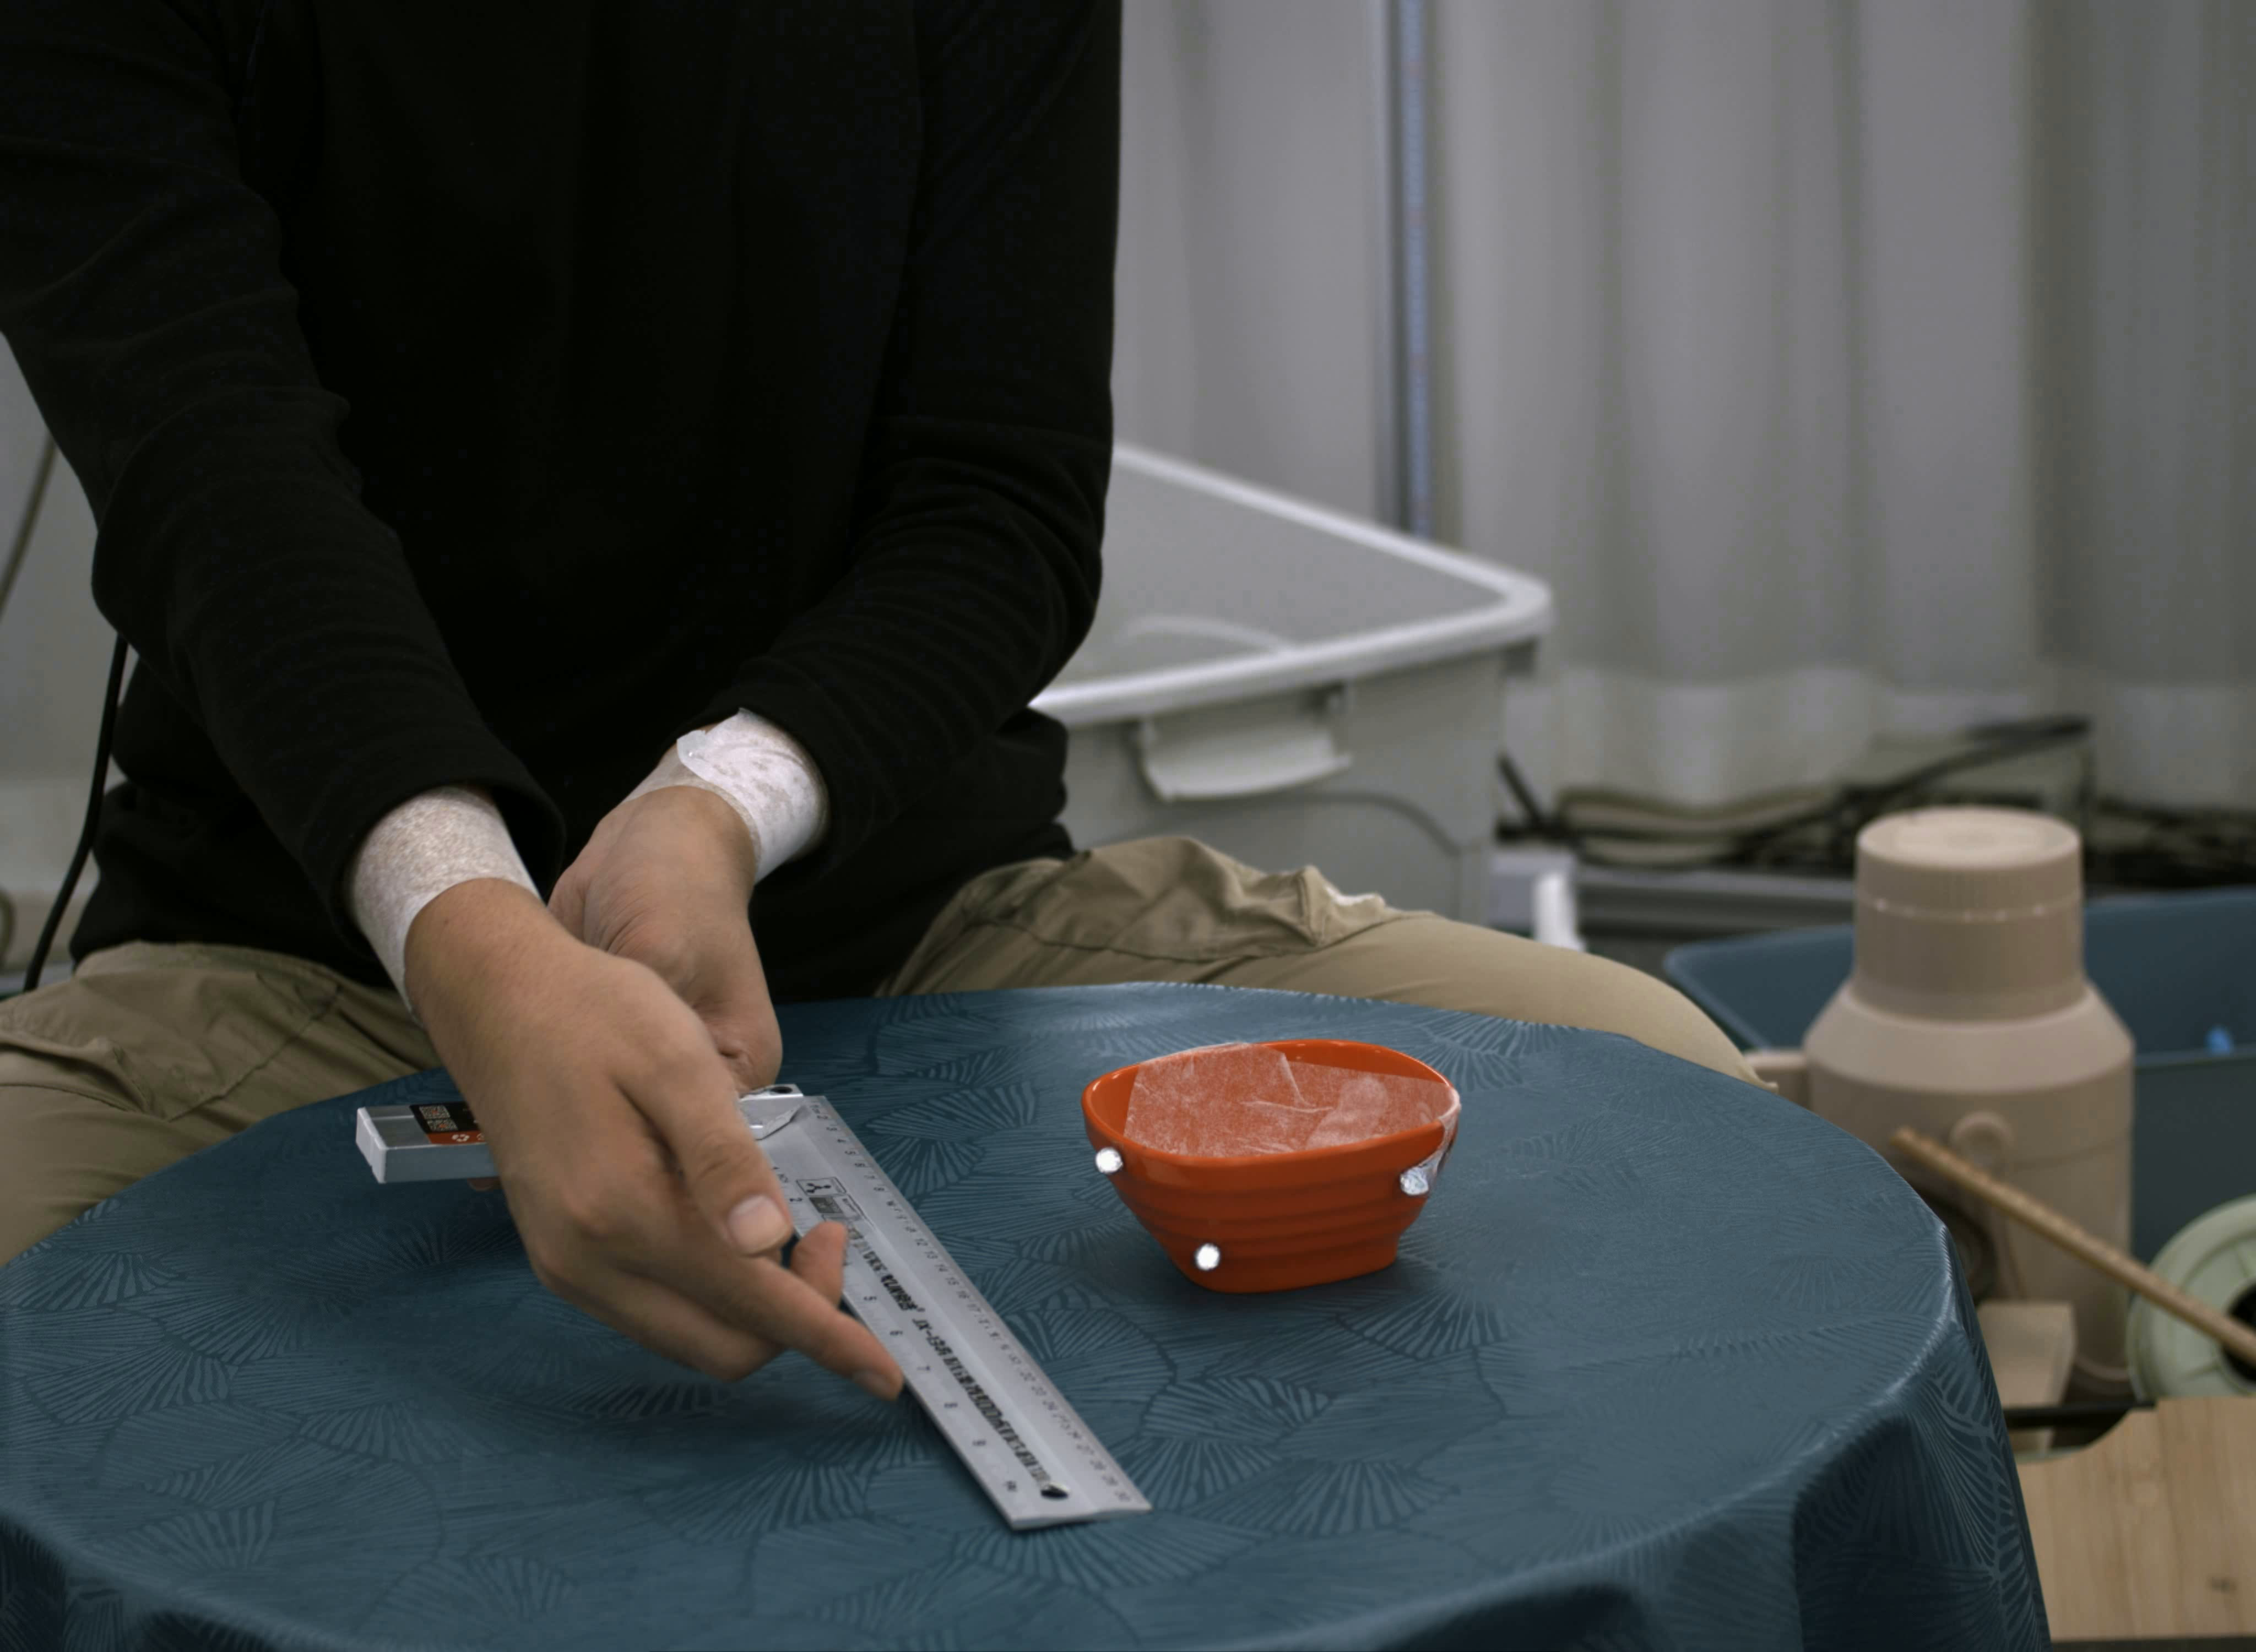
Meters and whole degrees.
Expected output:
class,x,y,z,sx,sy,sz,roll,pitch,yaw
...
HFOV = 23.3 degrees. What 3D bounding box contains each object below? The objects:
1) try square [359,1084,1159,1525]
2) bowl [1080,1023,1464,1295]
class,x,y,z,sx,sy,sz,roll,pitch,yaw
try square,-0.114,0.137,1.571,0.151,0.016,0.316,-2,19,-20
bowl,0.044,0.103,1.643,0.118,0.051,0.120,-3,18,1
